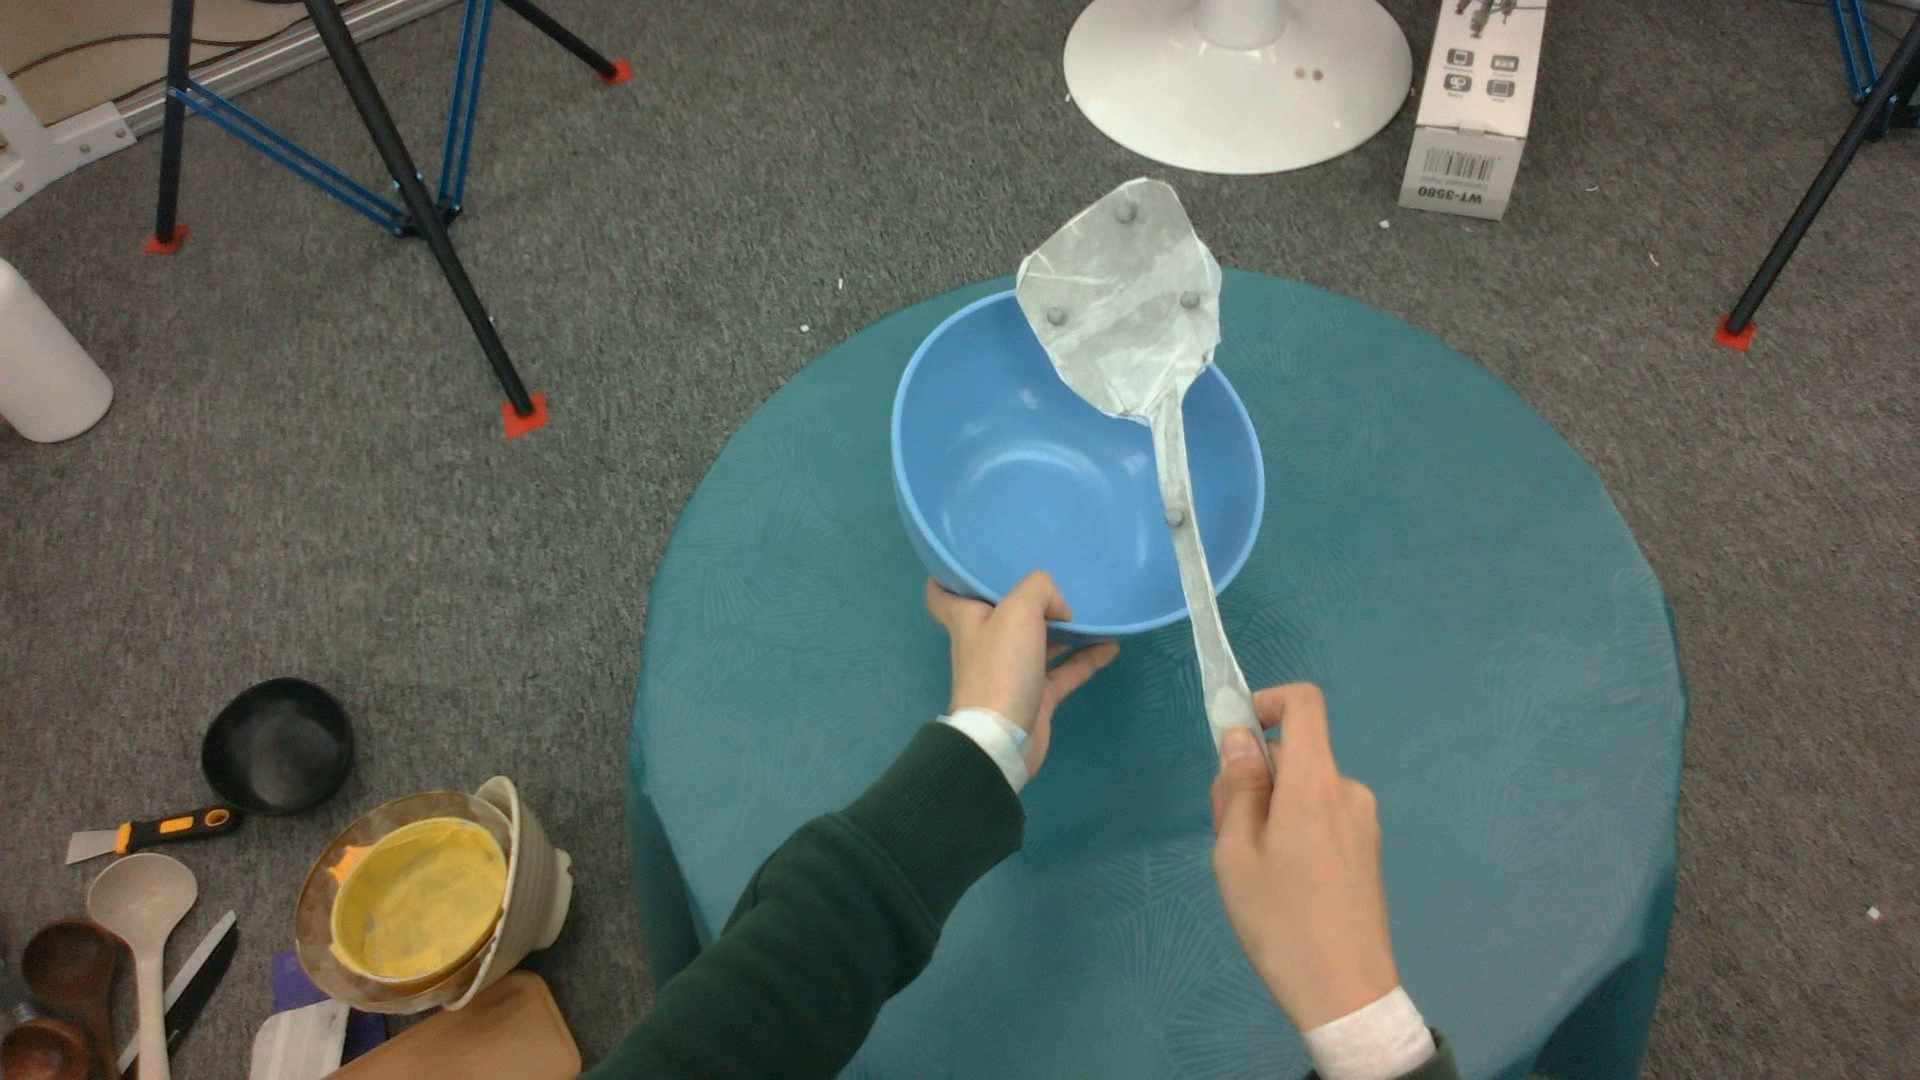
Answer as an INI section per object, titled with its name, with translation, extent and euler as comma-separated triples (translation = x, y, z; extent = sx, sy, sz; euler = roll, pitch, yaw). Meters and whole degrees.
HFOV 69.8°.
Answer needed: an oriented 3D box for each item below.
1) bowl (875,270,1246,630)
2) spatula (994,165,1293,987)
[bowl]
translation = 0.042, -0.034, 0.727
extent = 0.197, 0.095, 0.197
euler = 7, 64, -14
[spatula]
translation = 0.089, 0.004, 0.596
extent = 0.098, 0.045, 0.366
euler = -26, 61, 33
